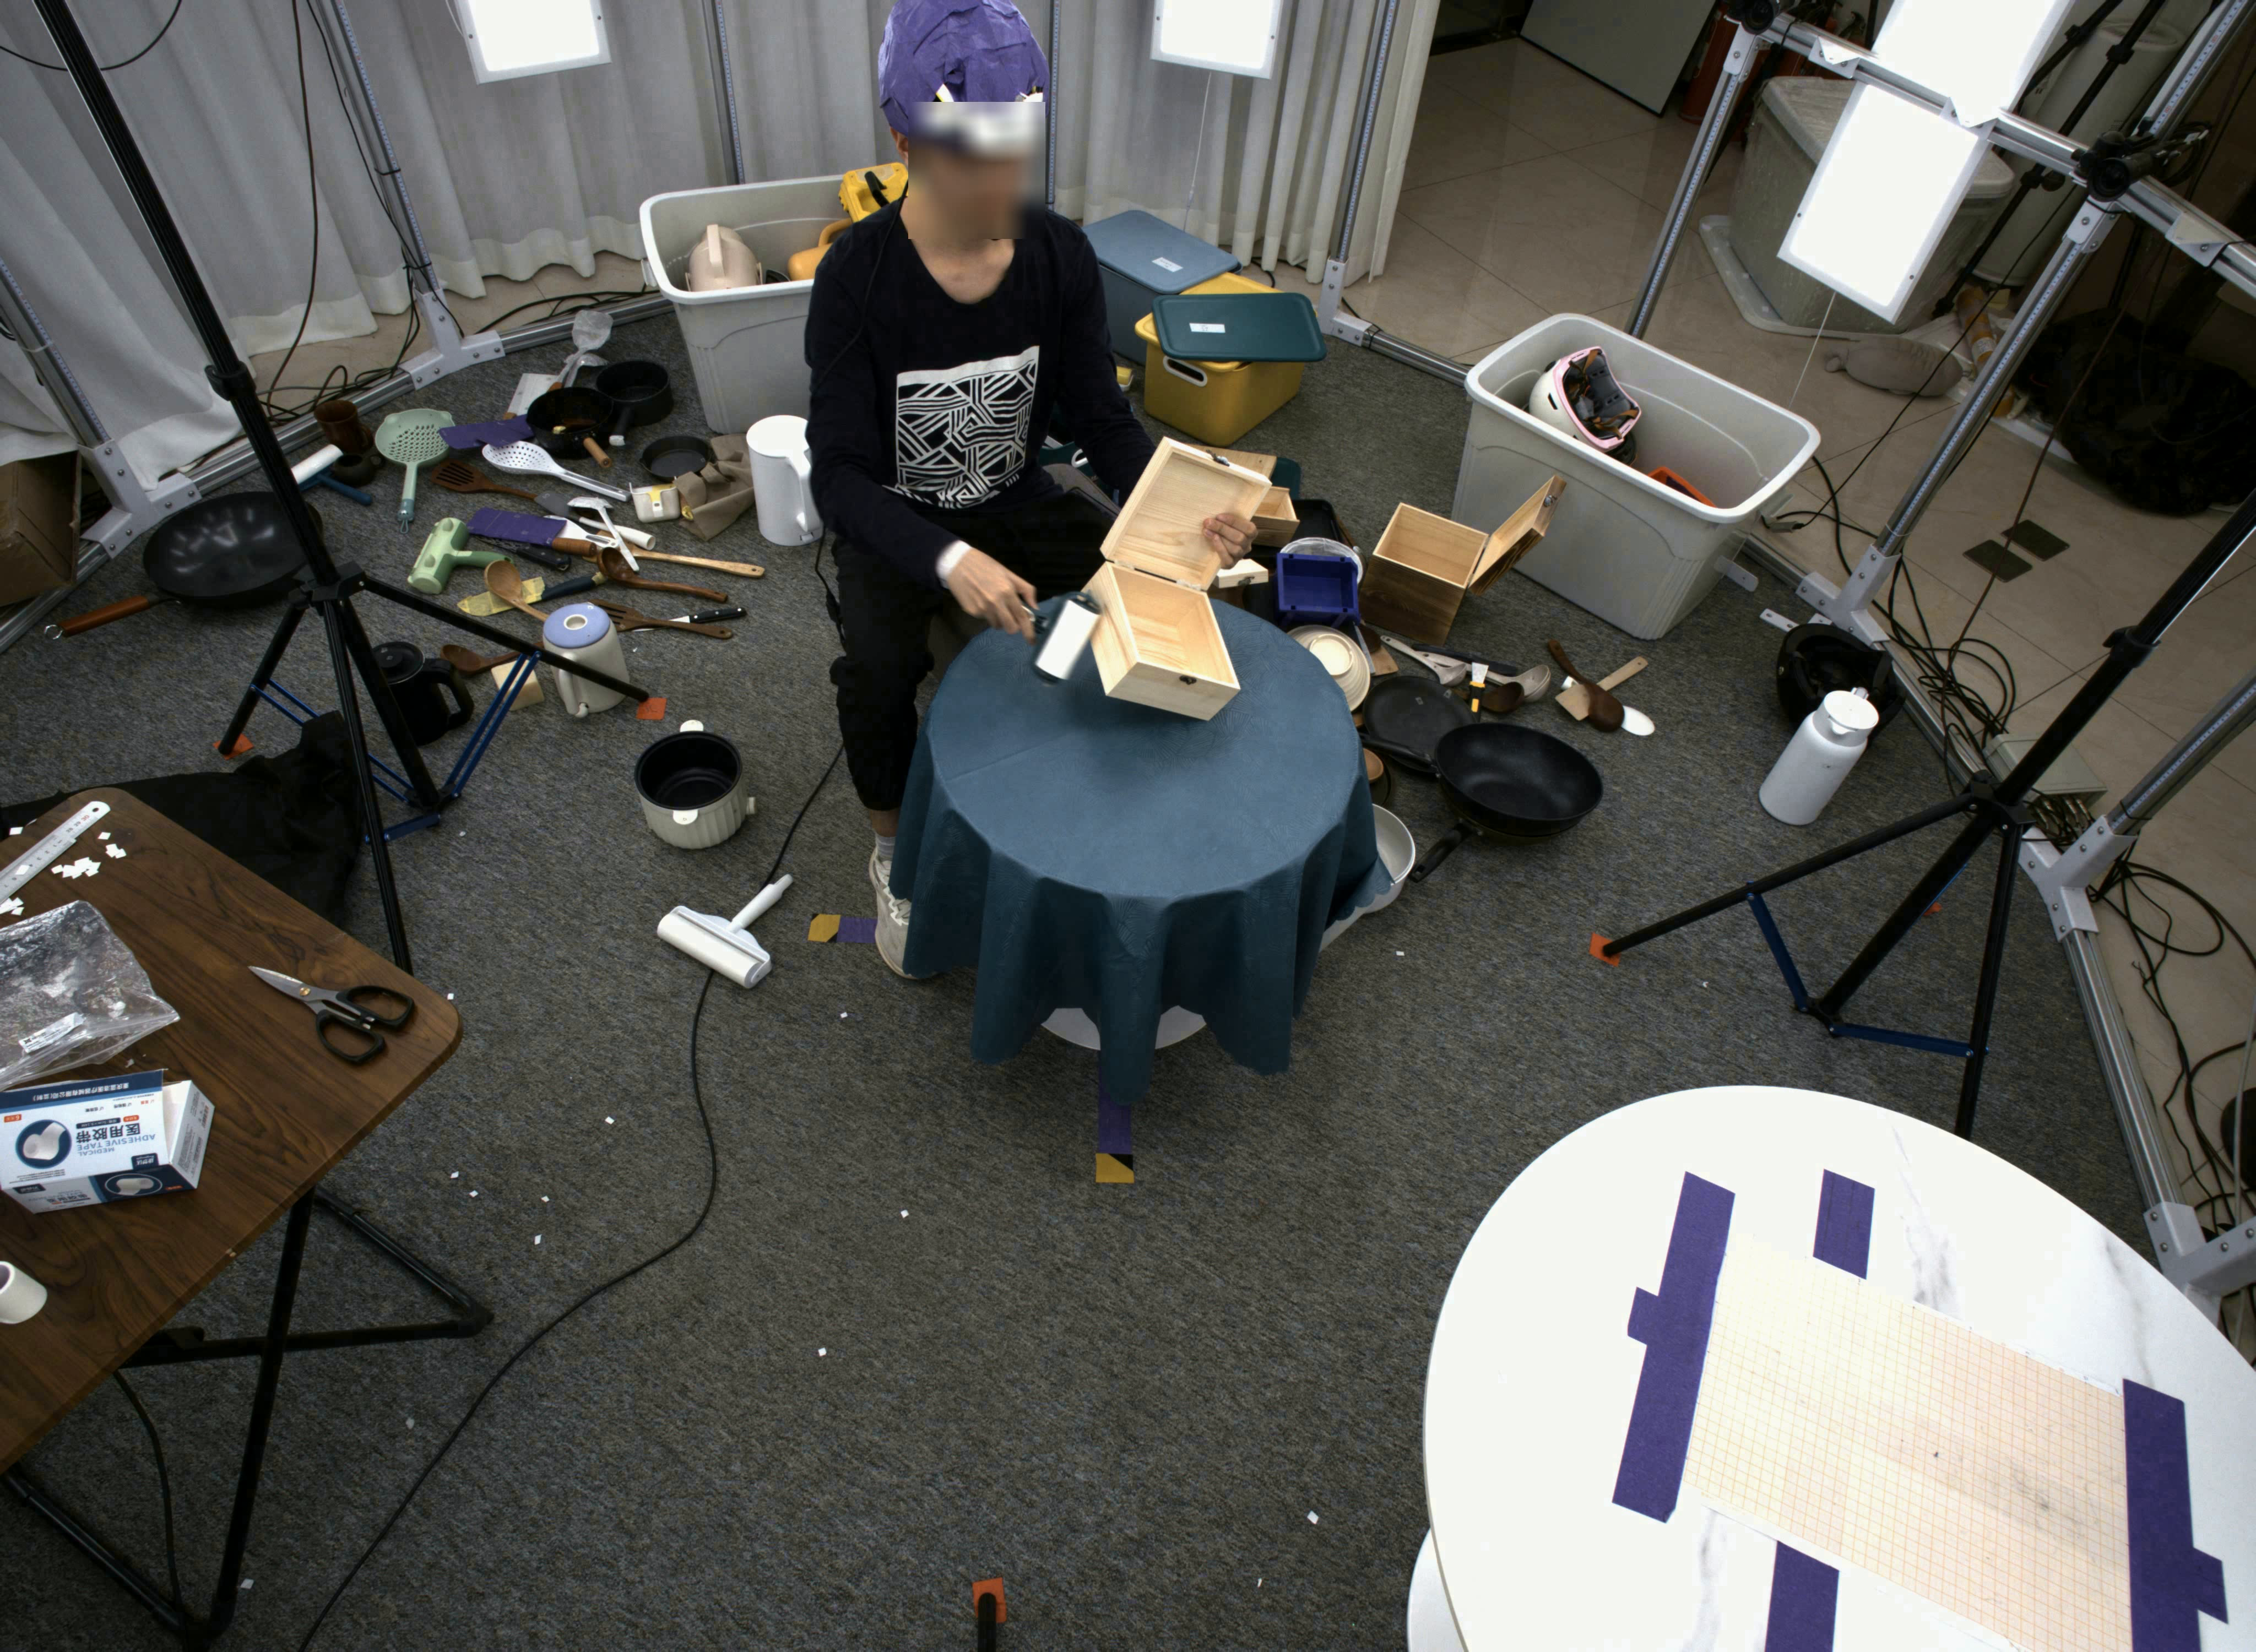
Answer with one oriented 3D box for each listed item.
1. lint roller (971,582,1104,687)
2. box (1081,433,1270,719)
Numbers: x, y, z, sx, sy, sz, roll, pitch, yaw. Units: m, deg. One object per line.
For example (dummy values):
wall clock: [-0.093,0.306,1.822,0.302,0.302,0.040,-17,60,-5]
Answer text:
lint roller: [-0.134,-0.281,1.738,0.180,0.133,0.049,26,16,-1]
box: [0.083,-0.330,1.744,0.180,0.249,0.271,9,51,-35]
